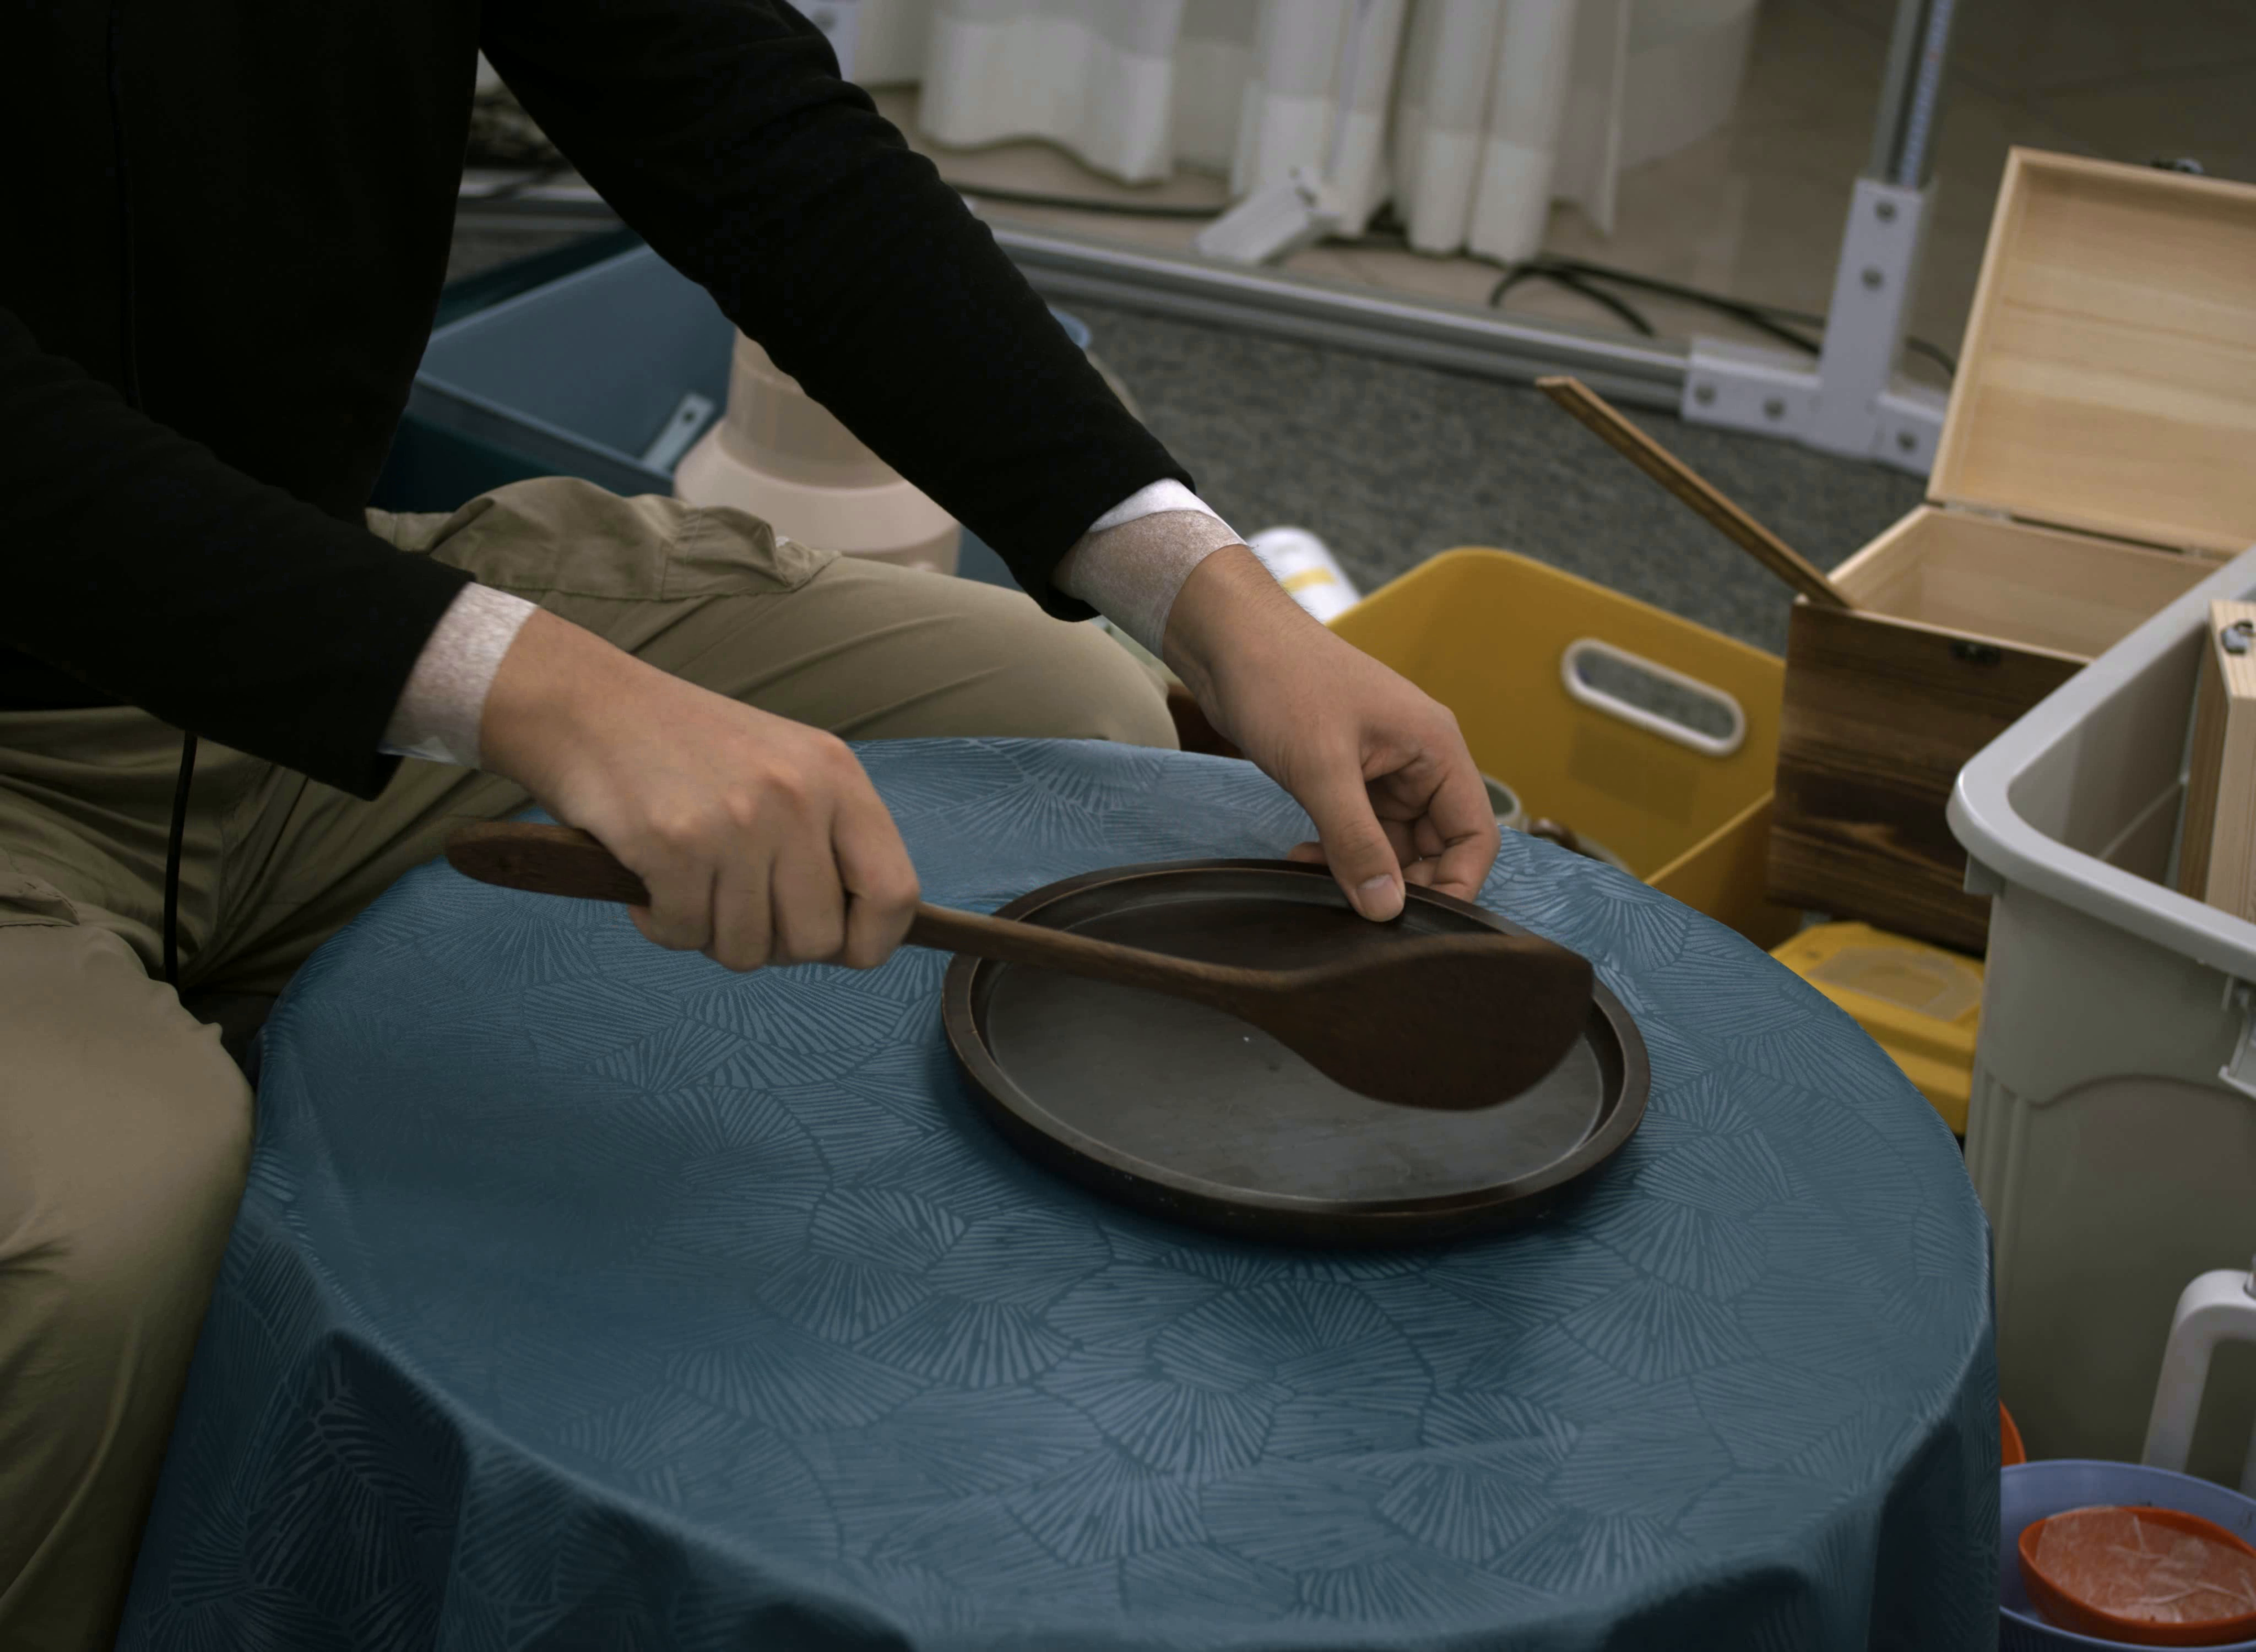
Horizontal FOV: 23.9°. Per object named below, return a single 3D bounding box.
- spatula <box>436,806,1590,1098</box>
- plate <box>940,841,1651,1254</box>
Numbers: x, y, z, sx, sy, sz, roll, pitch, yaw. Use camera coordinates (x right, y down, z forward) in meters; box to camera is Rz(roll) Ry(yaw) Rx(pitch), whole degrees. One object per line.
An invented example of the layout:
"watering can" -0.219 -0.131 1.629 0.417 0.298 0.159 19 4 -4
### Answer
"spatula" -0.036 0.035 1.746 0.384 0.096 0.016 11 49 -10
"plate" 0.058 0.079 1.876 0.254 0.029 0.256 4 28 -2
